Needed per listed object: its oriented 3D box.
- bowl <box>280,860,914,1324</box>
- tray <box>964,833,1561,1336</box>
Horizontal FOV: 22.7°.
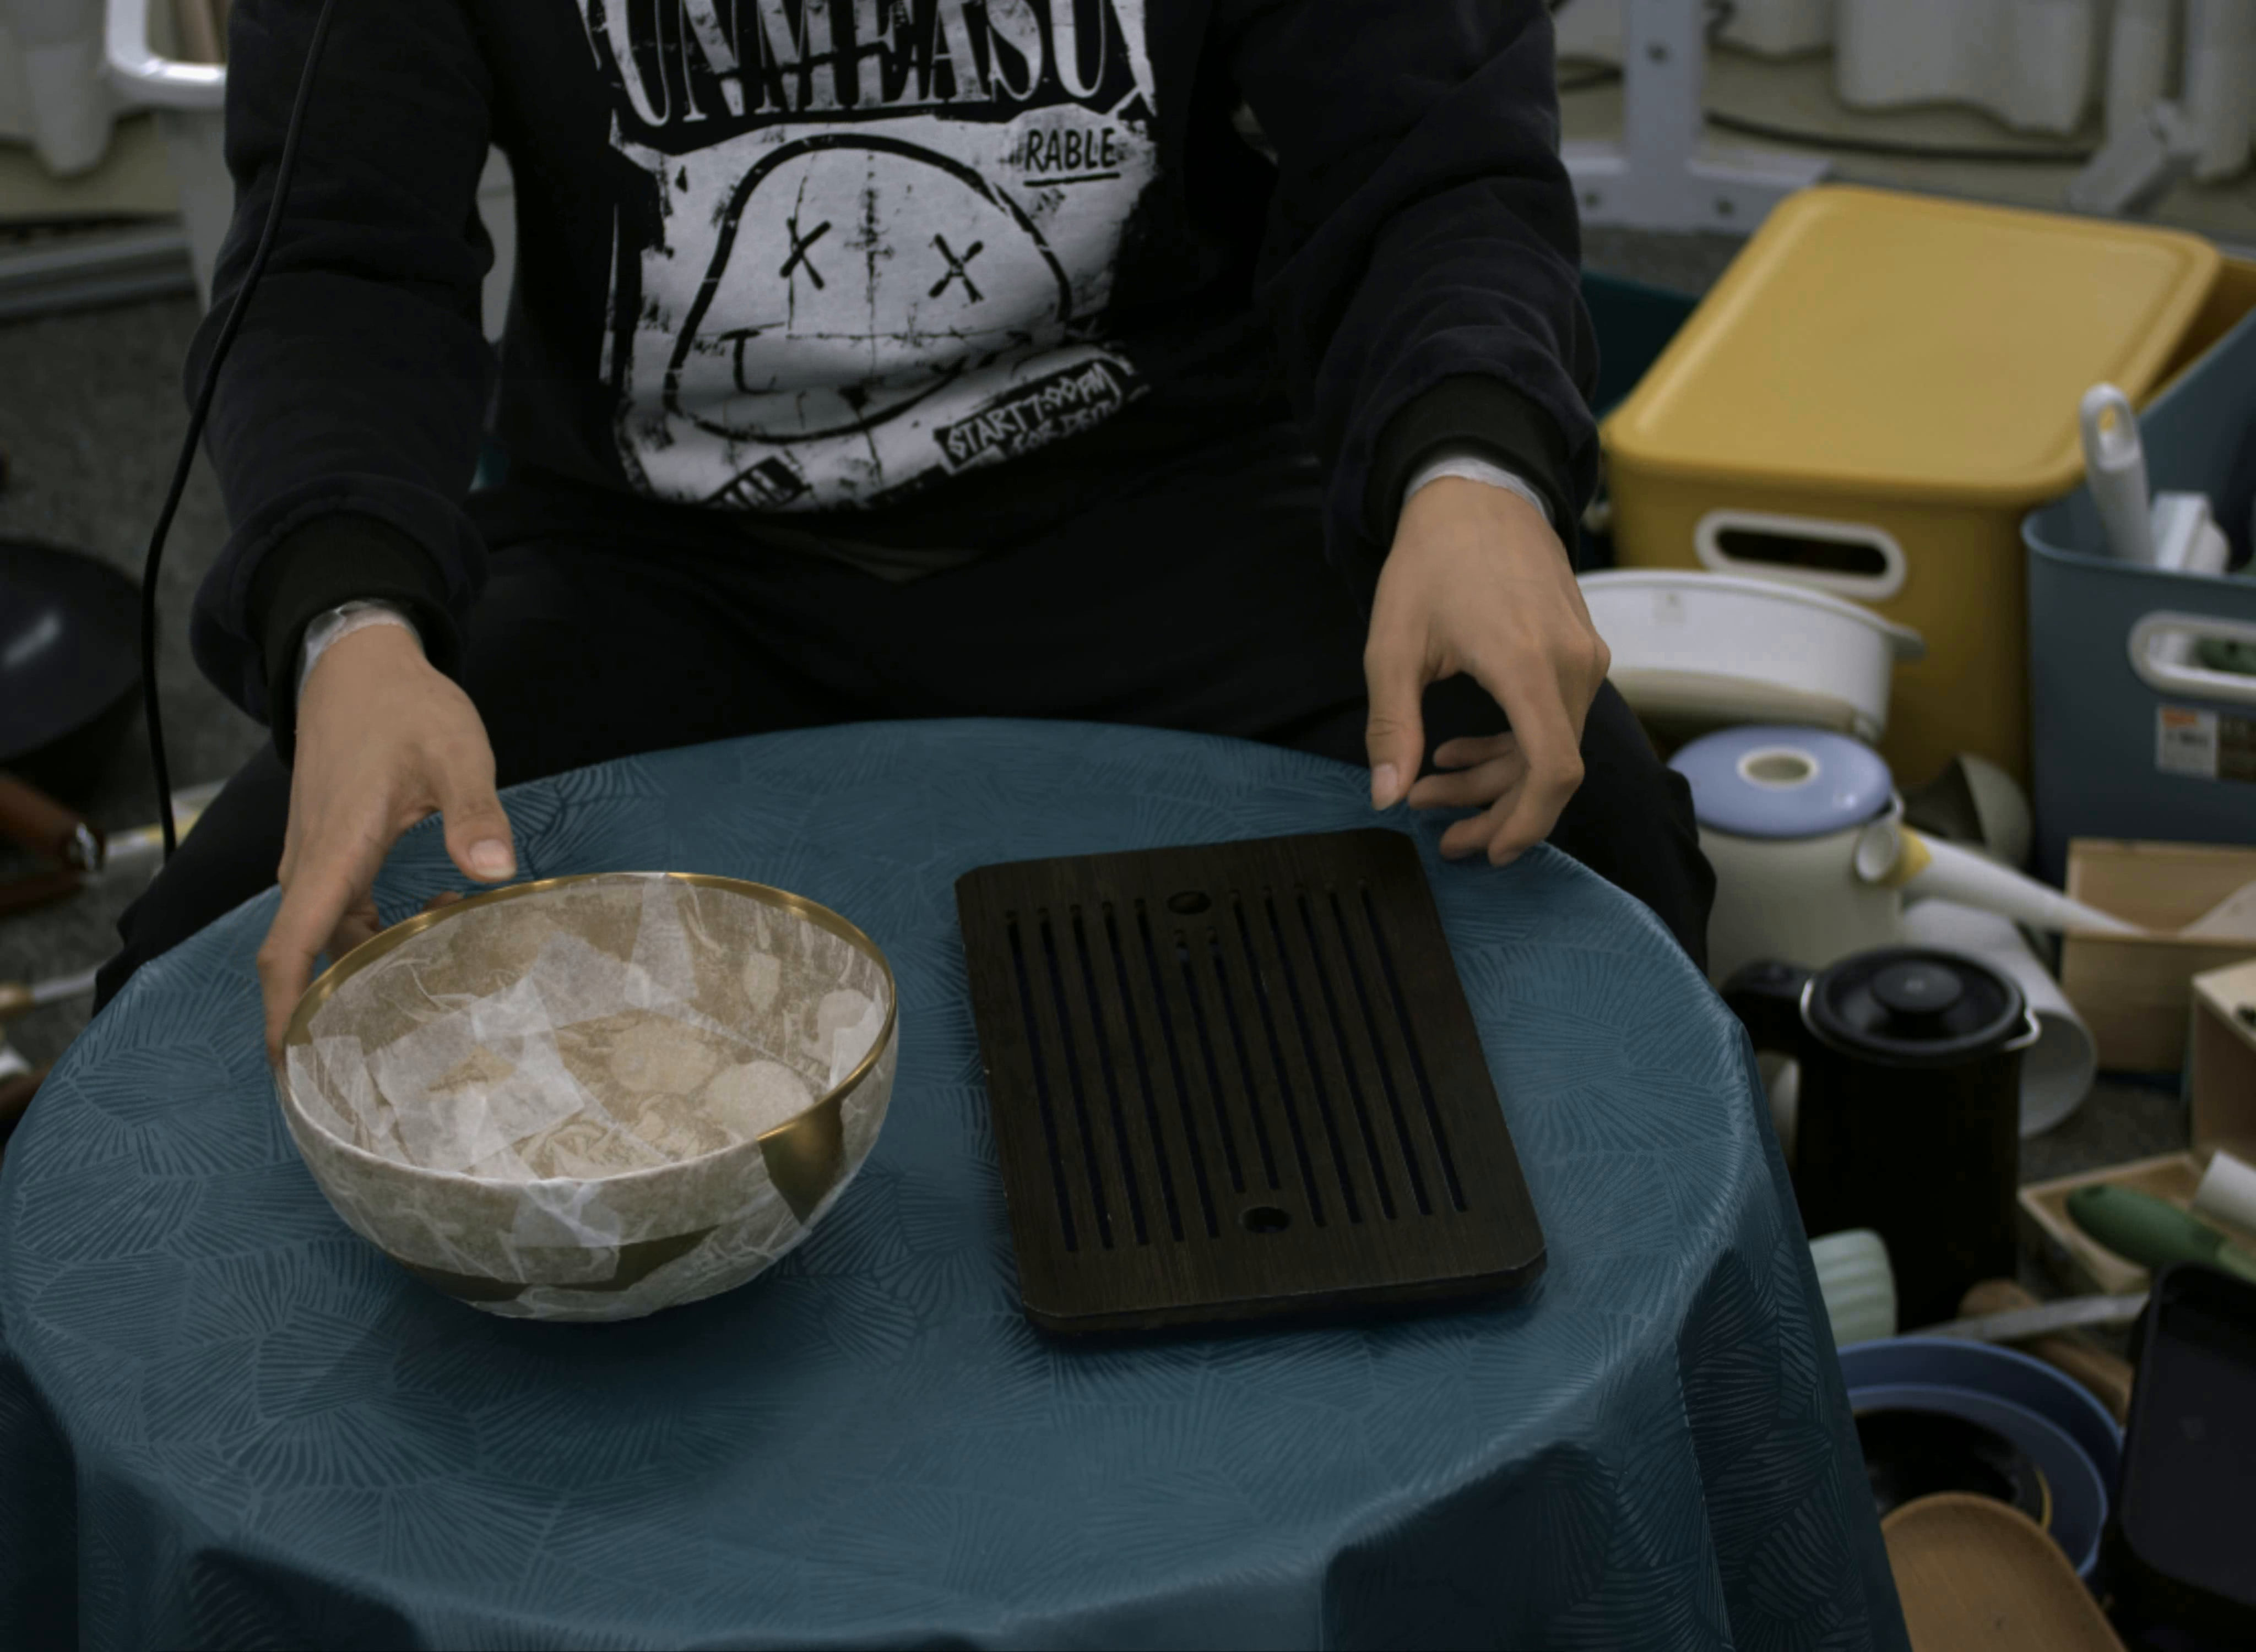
[{"bbox_3d":[-0.167,0.099,1.822,0.213,0.093,0.218,-3,27,2],"label":"bowl"},{"bbox_3d":[0.039,0.085,1.909,0.169,0.018,0.310,-5,27,-4],"label":"tray"}]
